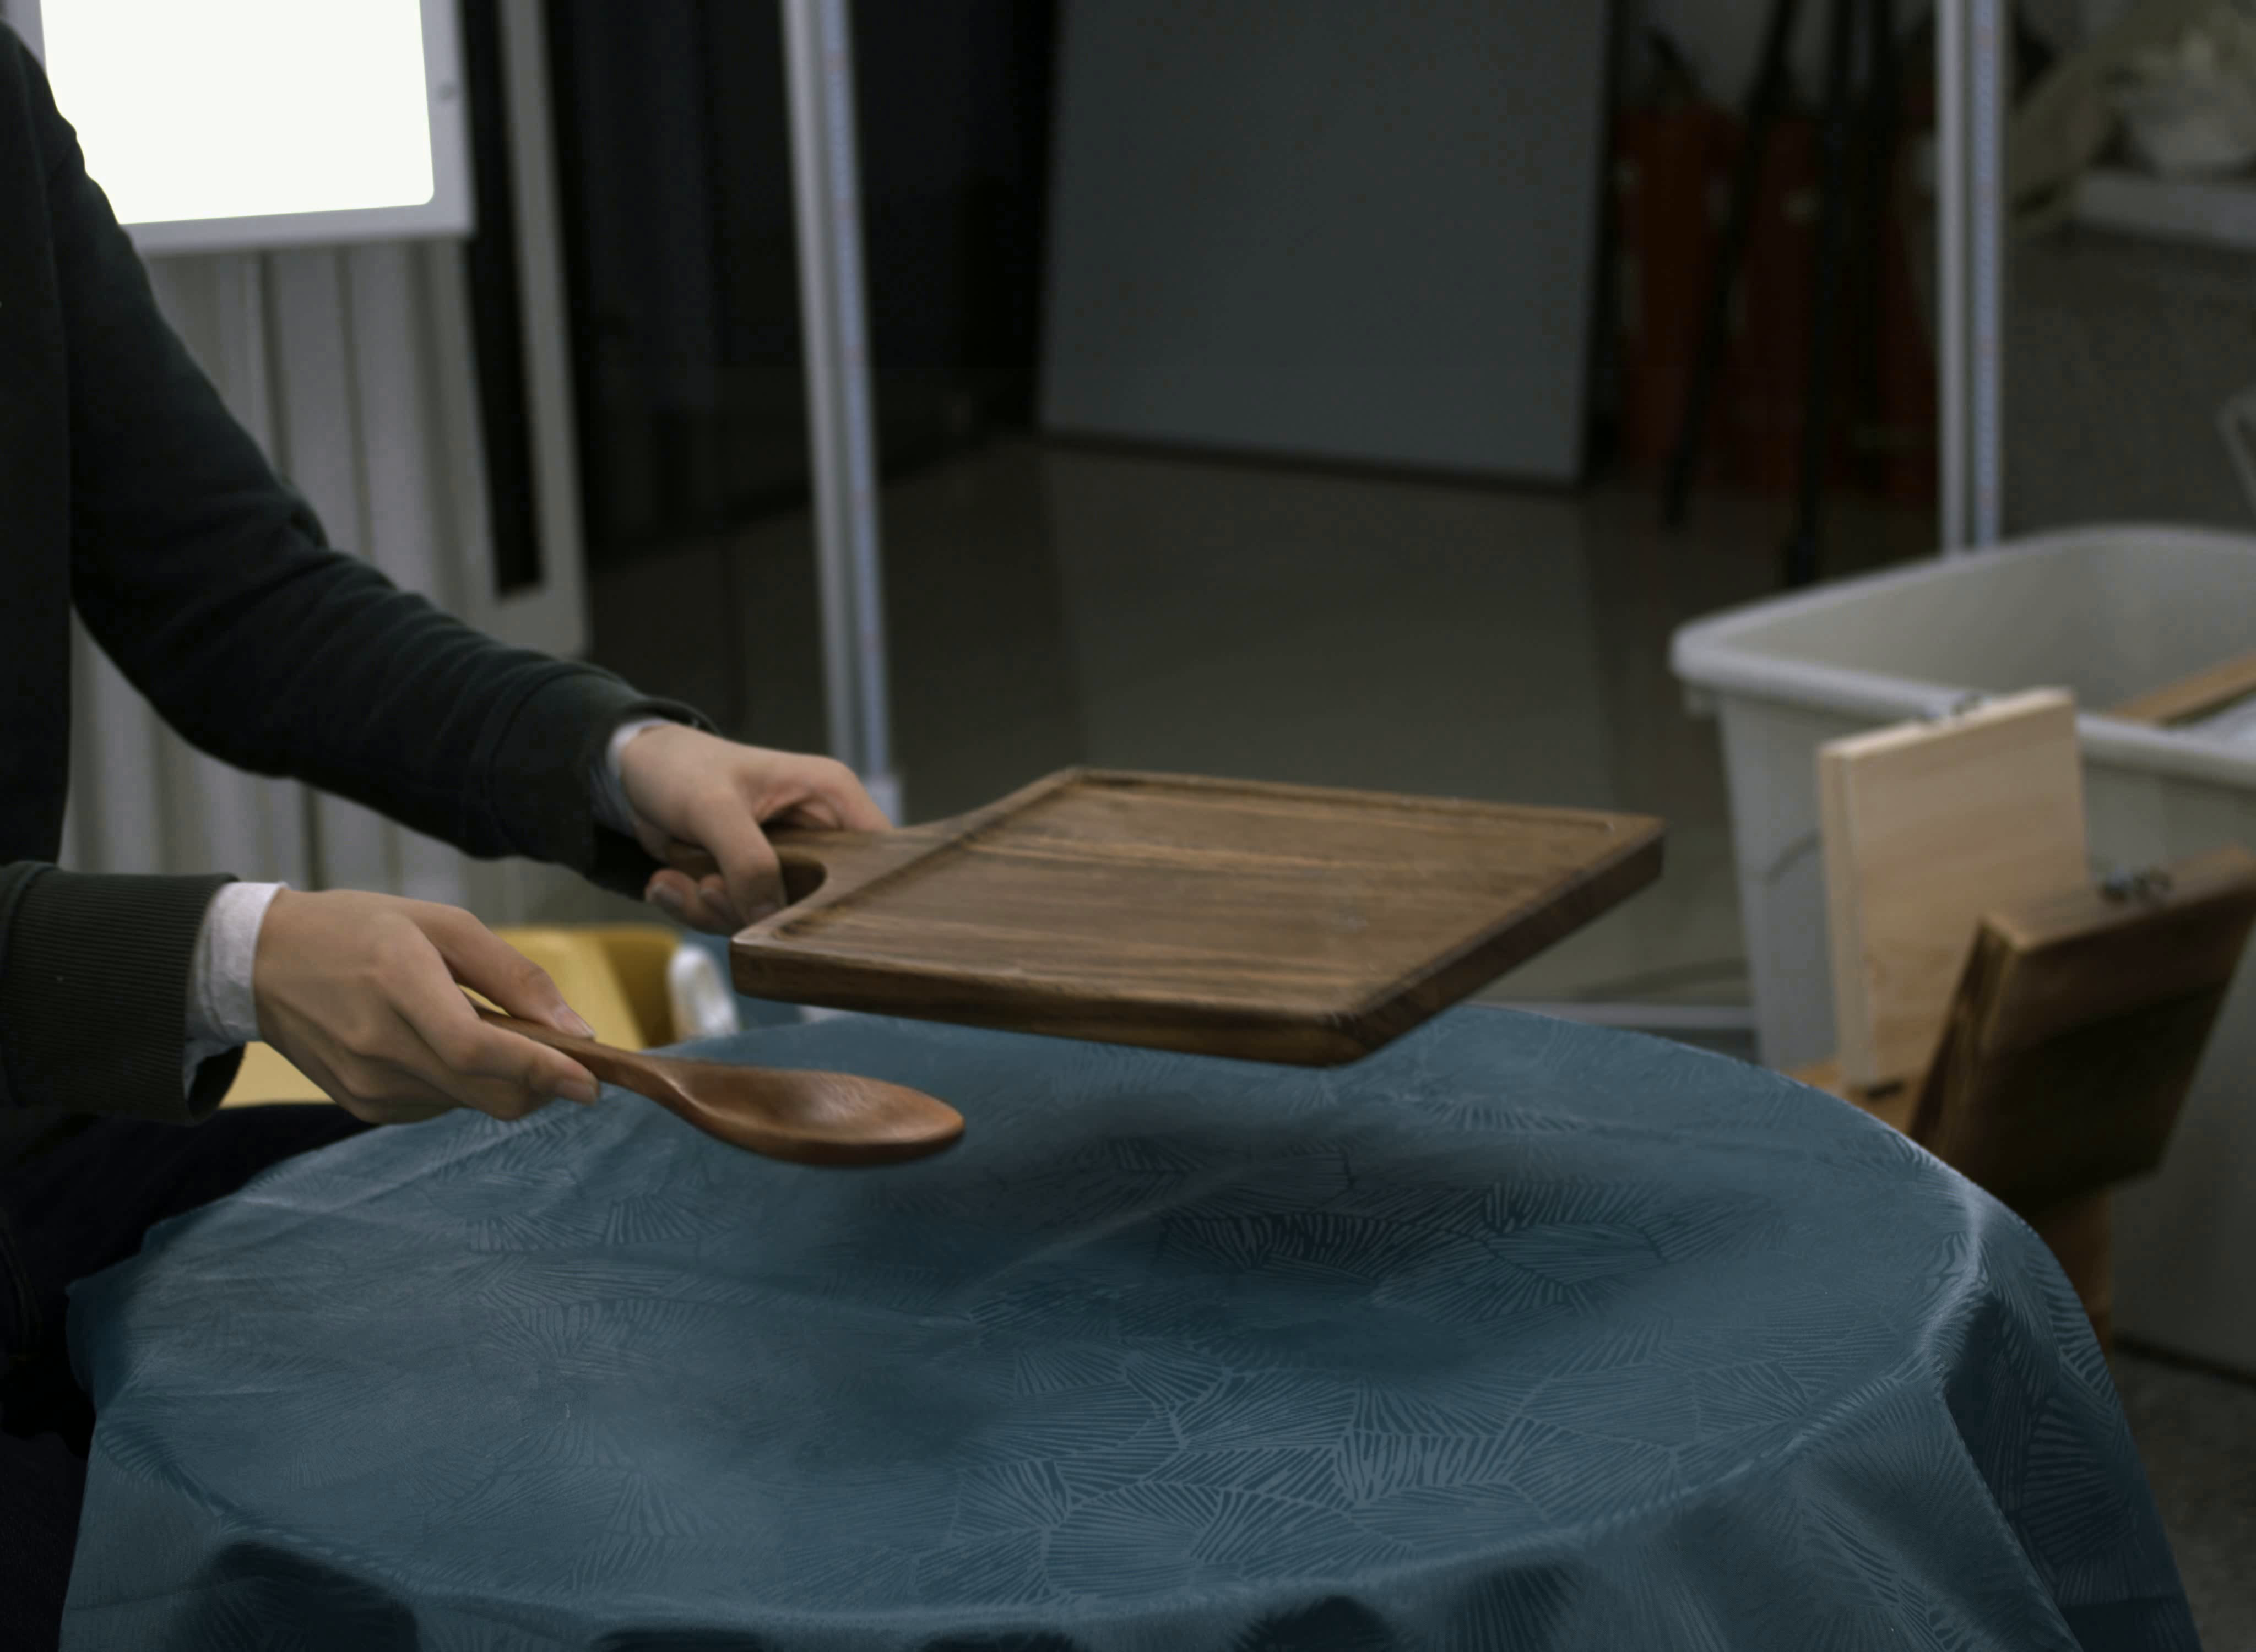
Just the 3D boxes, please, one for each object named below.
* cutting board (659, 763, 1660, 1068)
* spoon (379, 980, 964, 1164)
[{"bbox_3d":[-0.018,0.022,1.782,0.354,0.023,0.198,4,22,38],"label":"cutting board"},{"bbox_3d":[-0.143,0.075,1.640,0.217,0.017,0.074,13,17,34],"label":"spoon"}]
